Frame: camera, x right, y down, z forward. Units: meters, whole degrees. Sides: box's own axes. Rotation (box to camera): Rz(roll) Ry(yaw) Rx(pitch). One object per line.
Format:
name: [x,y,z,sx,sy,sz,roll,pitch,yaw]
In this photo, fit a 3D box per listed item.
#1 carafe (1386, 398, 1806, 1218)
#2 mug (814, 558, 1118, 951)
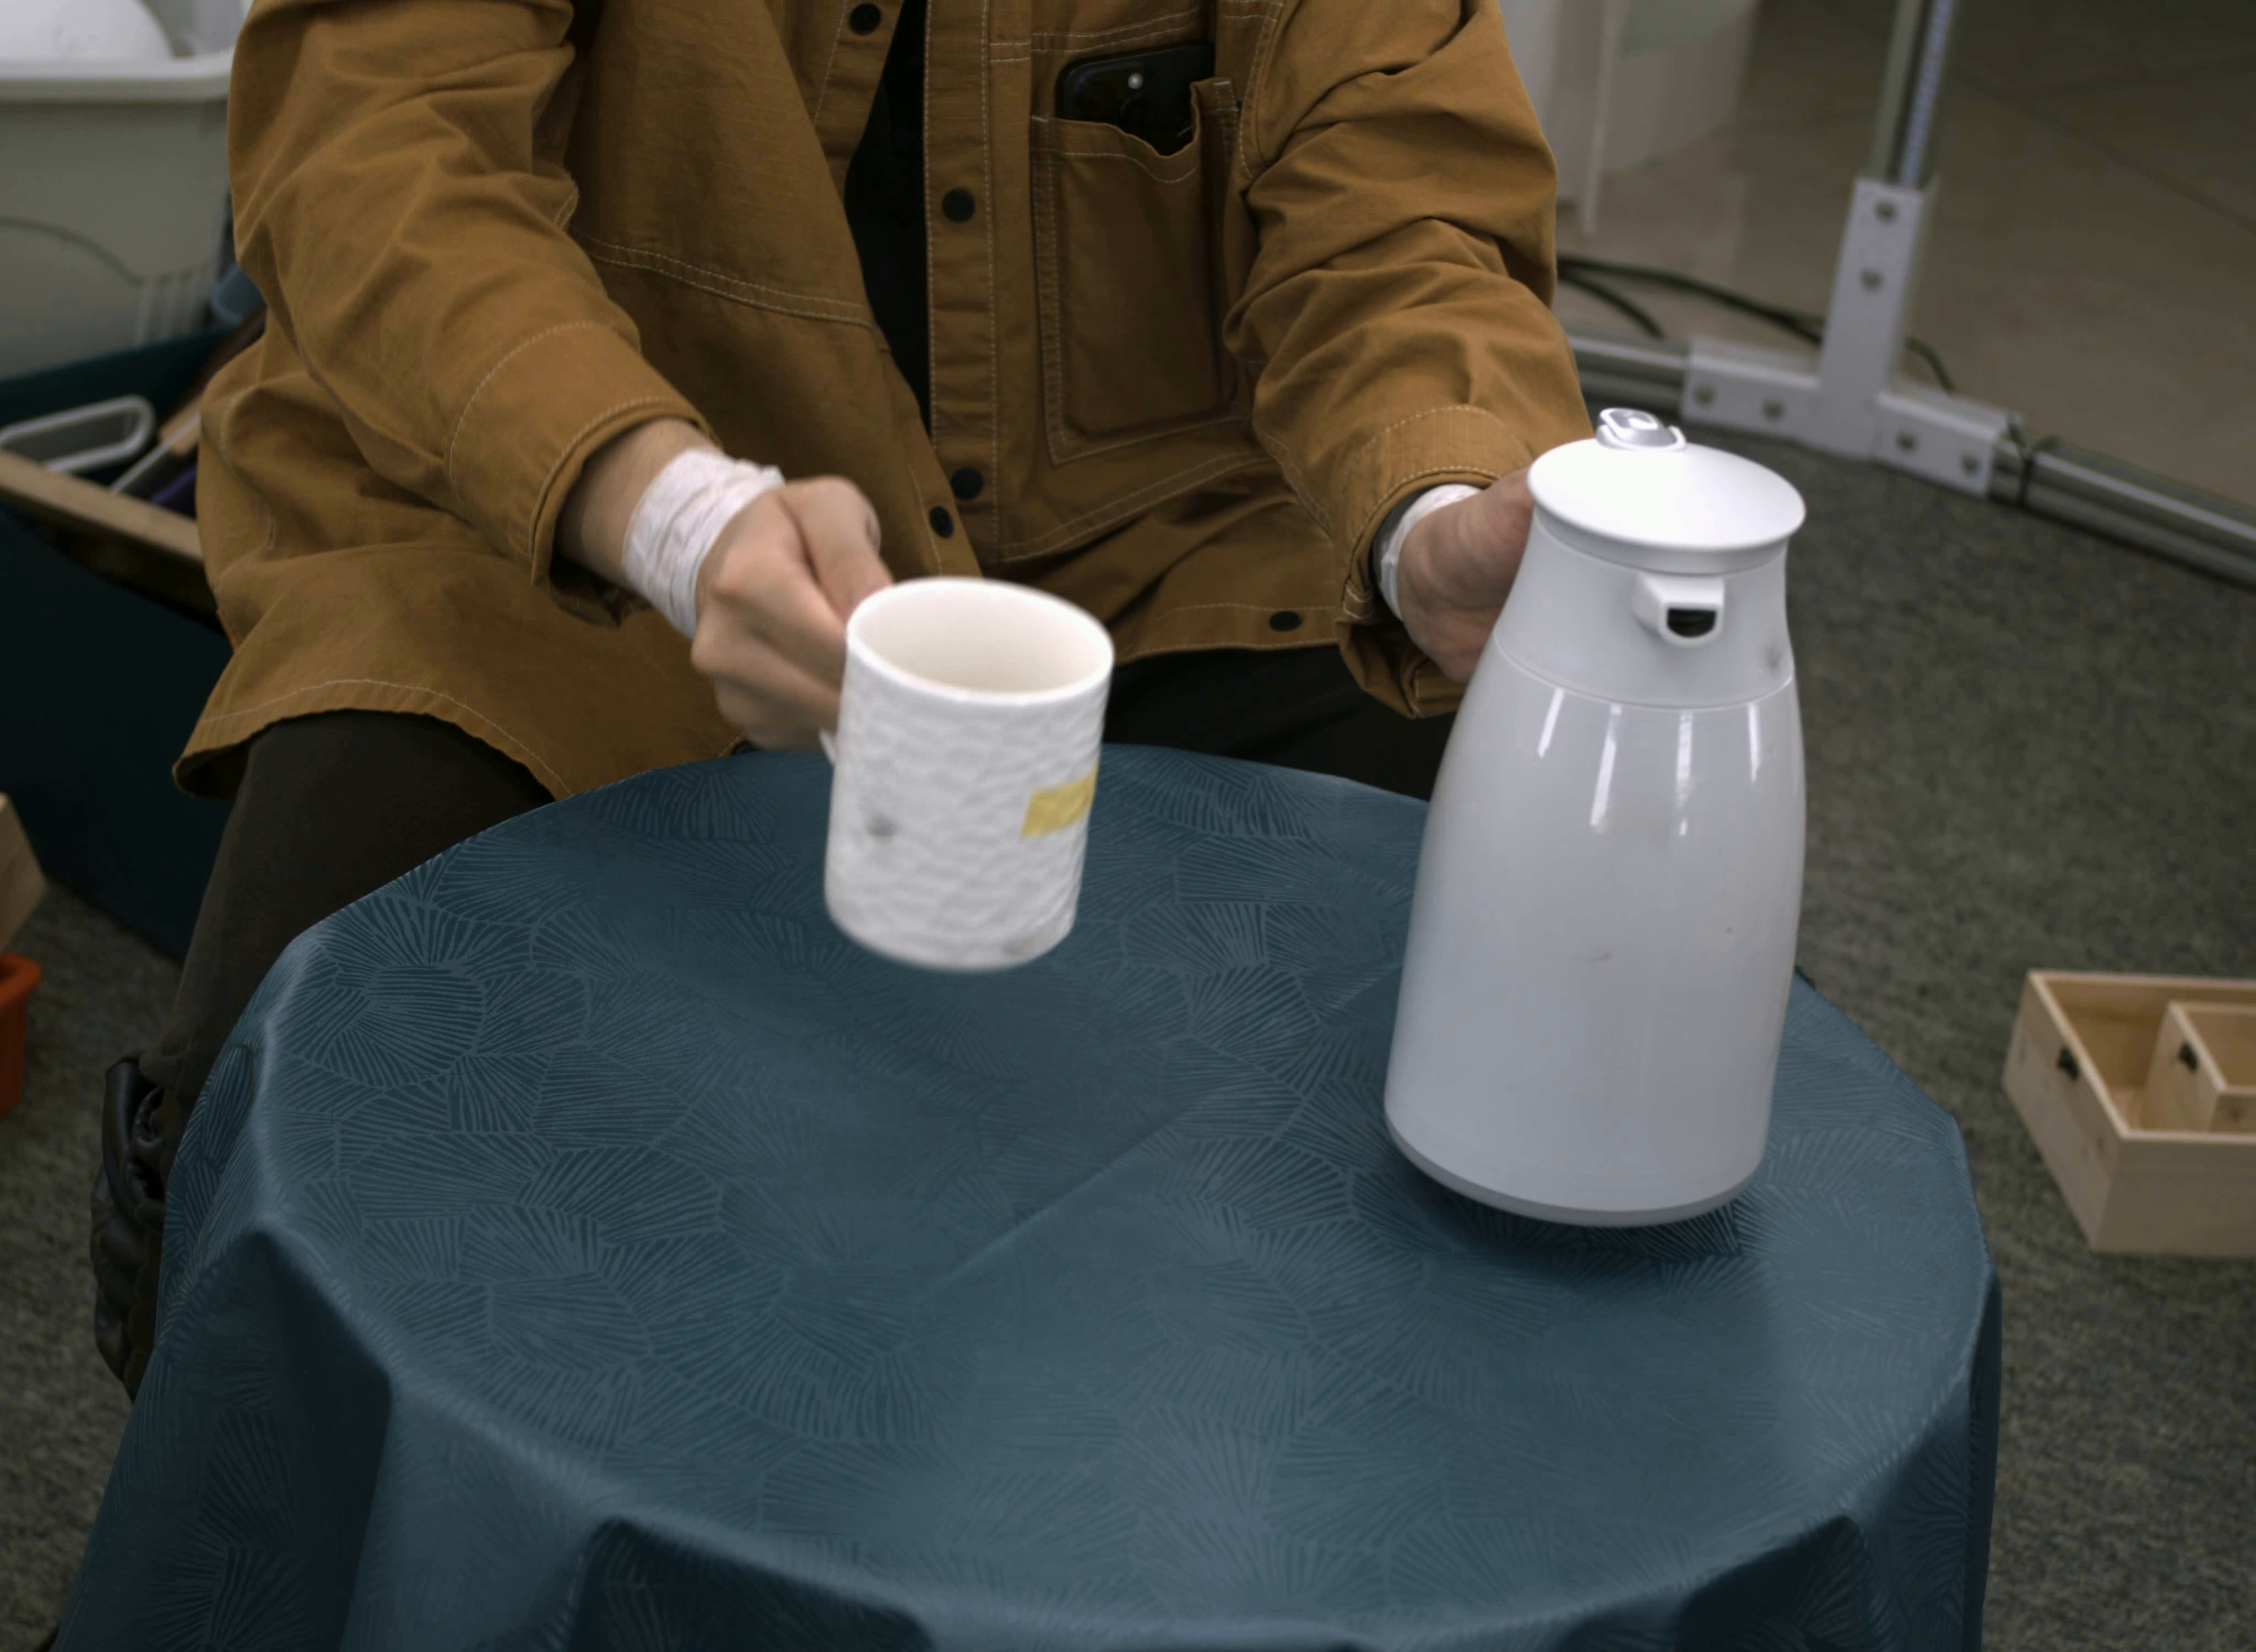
carafe: [0.161,-0.016,1.797,0.132,0.248,0.169,1,25,-7]
mug: [-0.062,-0.029,1.722,0.084,0.101,0.119,-16,35,-38]
